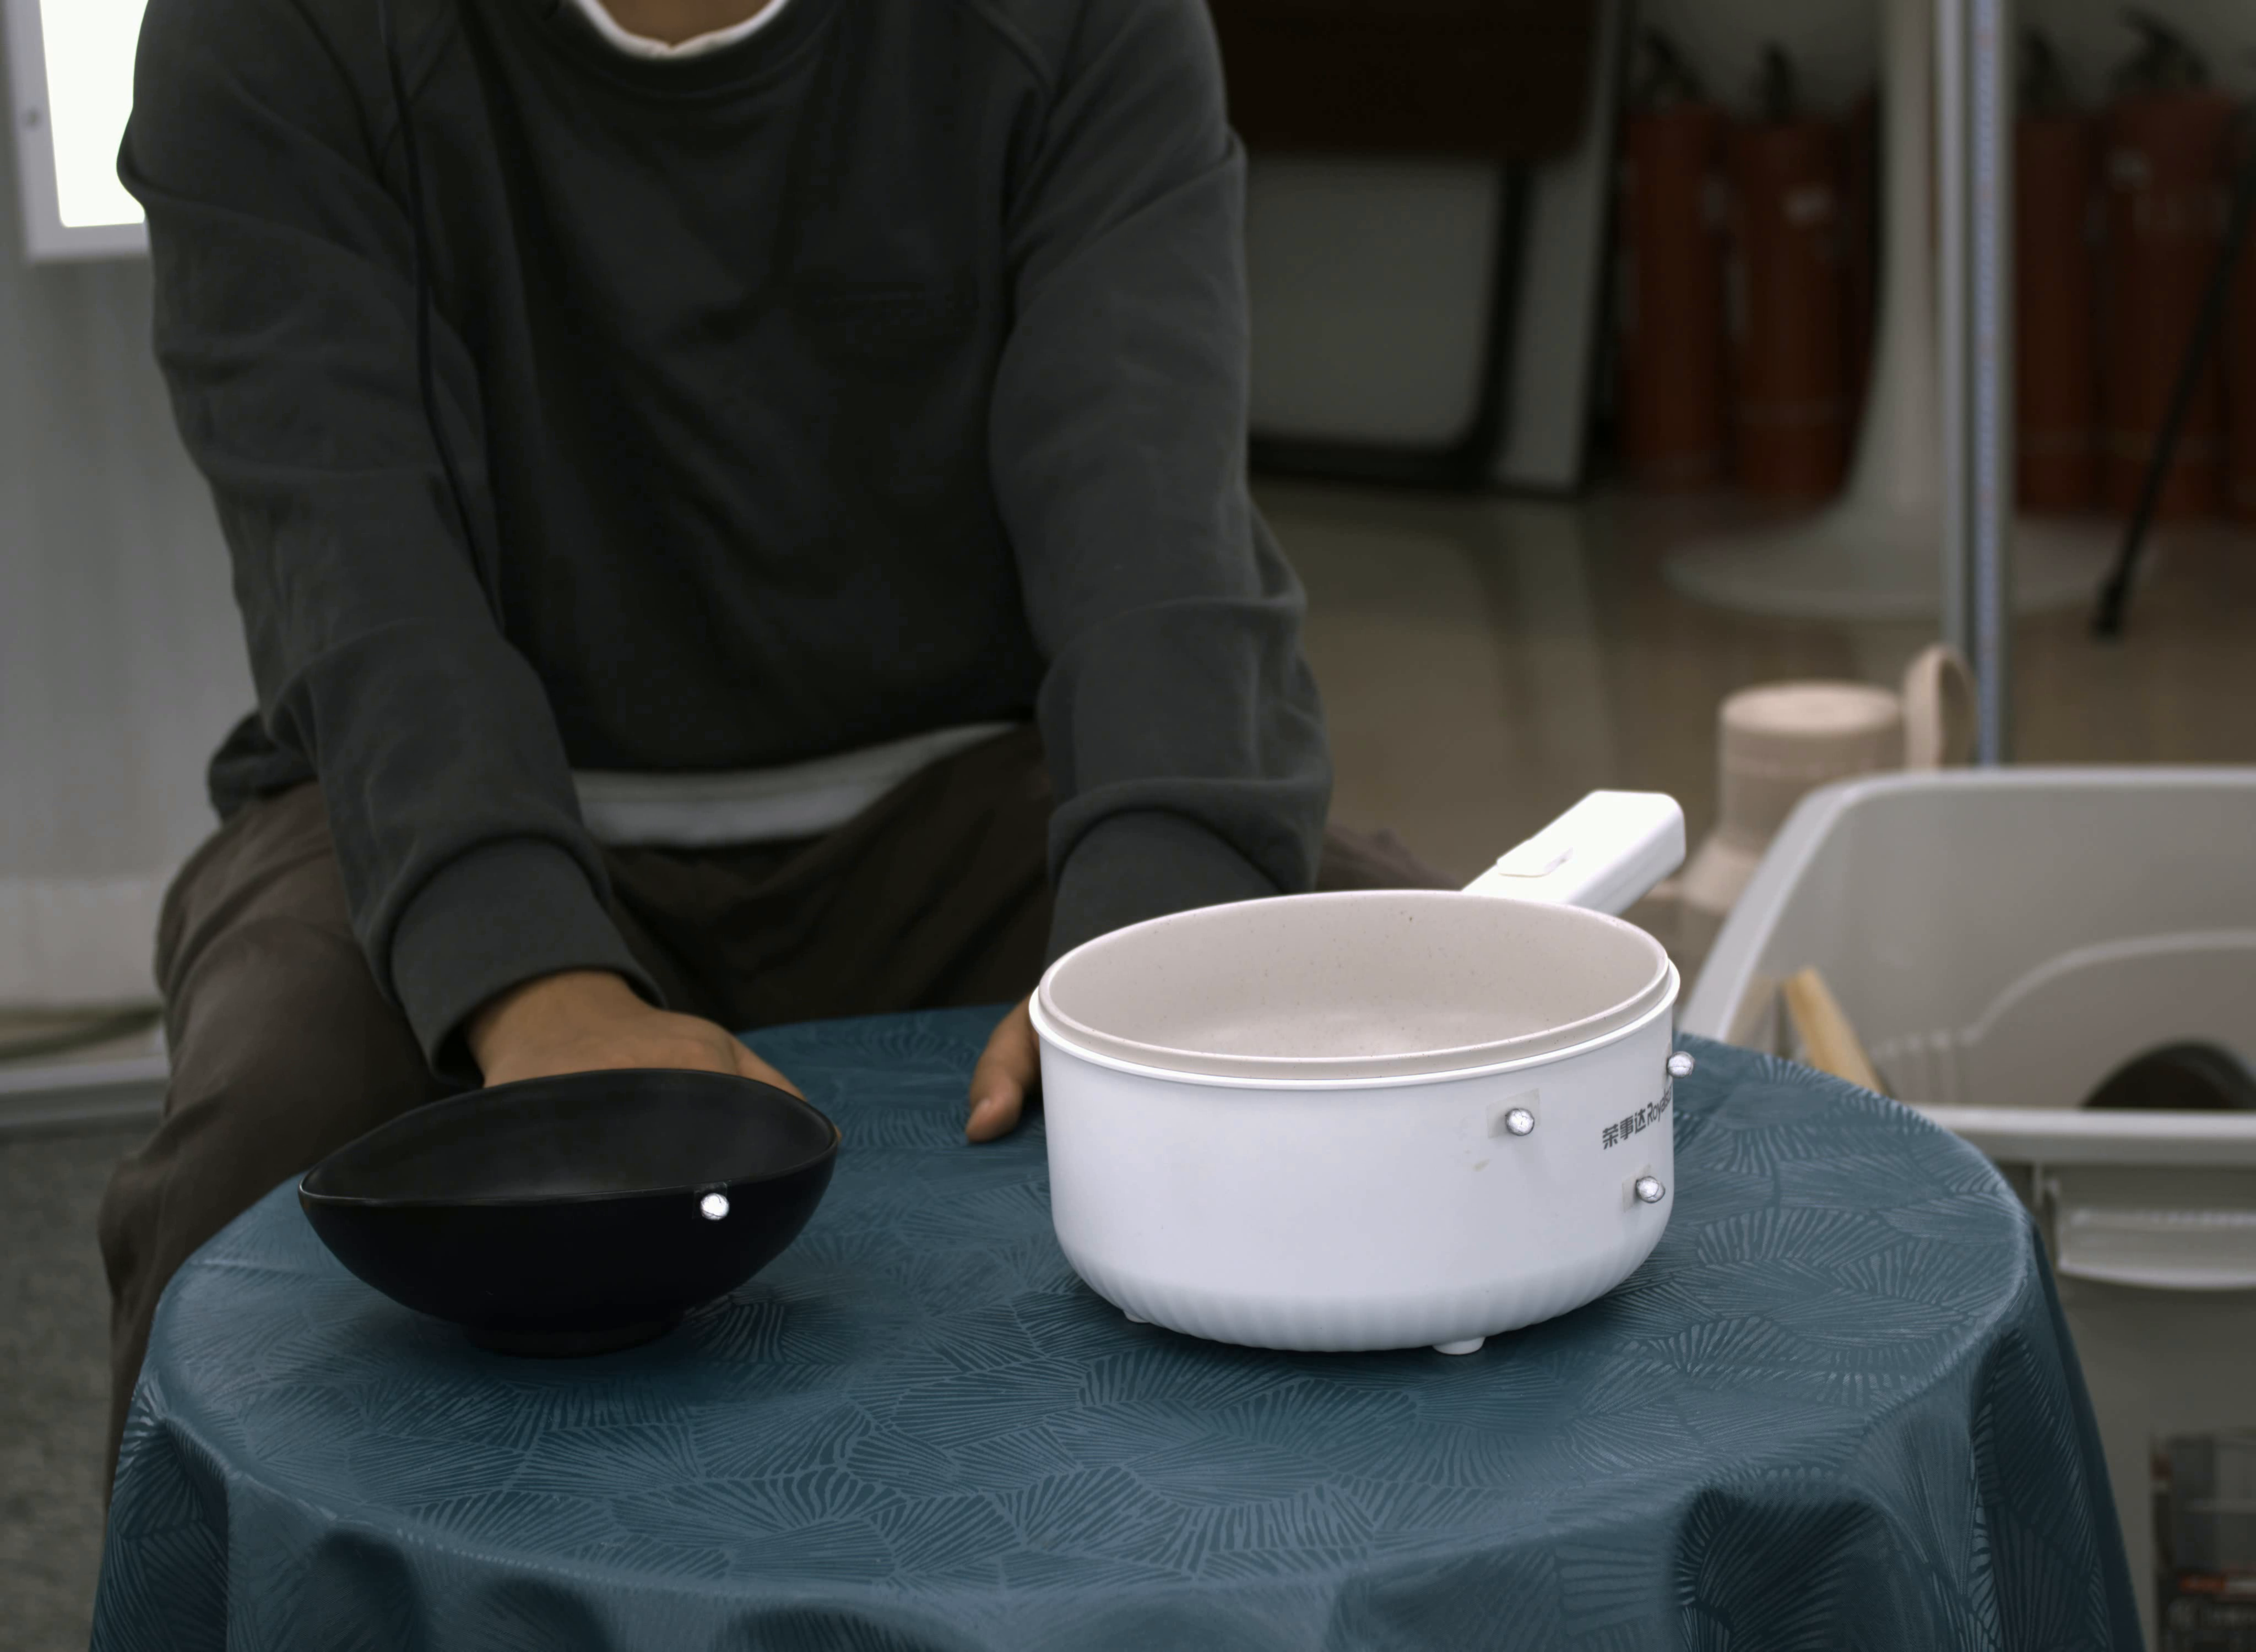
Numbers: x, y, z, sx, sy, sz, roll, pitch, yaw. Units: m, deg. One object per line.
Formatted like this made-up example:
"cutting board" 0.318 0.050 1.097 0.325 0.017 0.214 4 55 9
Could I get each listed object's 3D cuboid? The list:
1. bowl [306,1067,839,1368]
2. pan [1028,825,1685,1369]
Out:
"bowl" -0.170 0.126 1.668 0.169 0.067 0.137 -4 13 8
"pan" 0.104 0.083 1.726 0.201 0.103 0.350 -2 11 26
